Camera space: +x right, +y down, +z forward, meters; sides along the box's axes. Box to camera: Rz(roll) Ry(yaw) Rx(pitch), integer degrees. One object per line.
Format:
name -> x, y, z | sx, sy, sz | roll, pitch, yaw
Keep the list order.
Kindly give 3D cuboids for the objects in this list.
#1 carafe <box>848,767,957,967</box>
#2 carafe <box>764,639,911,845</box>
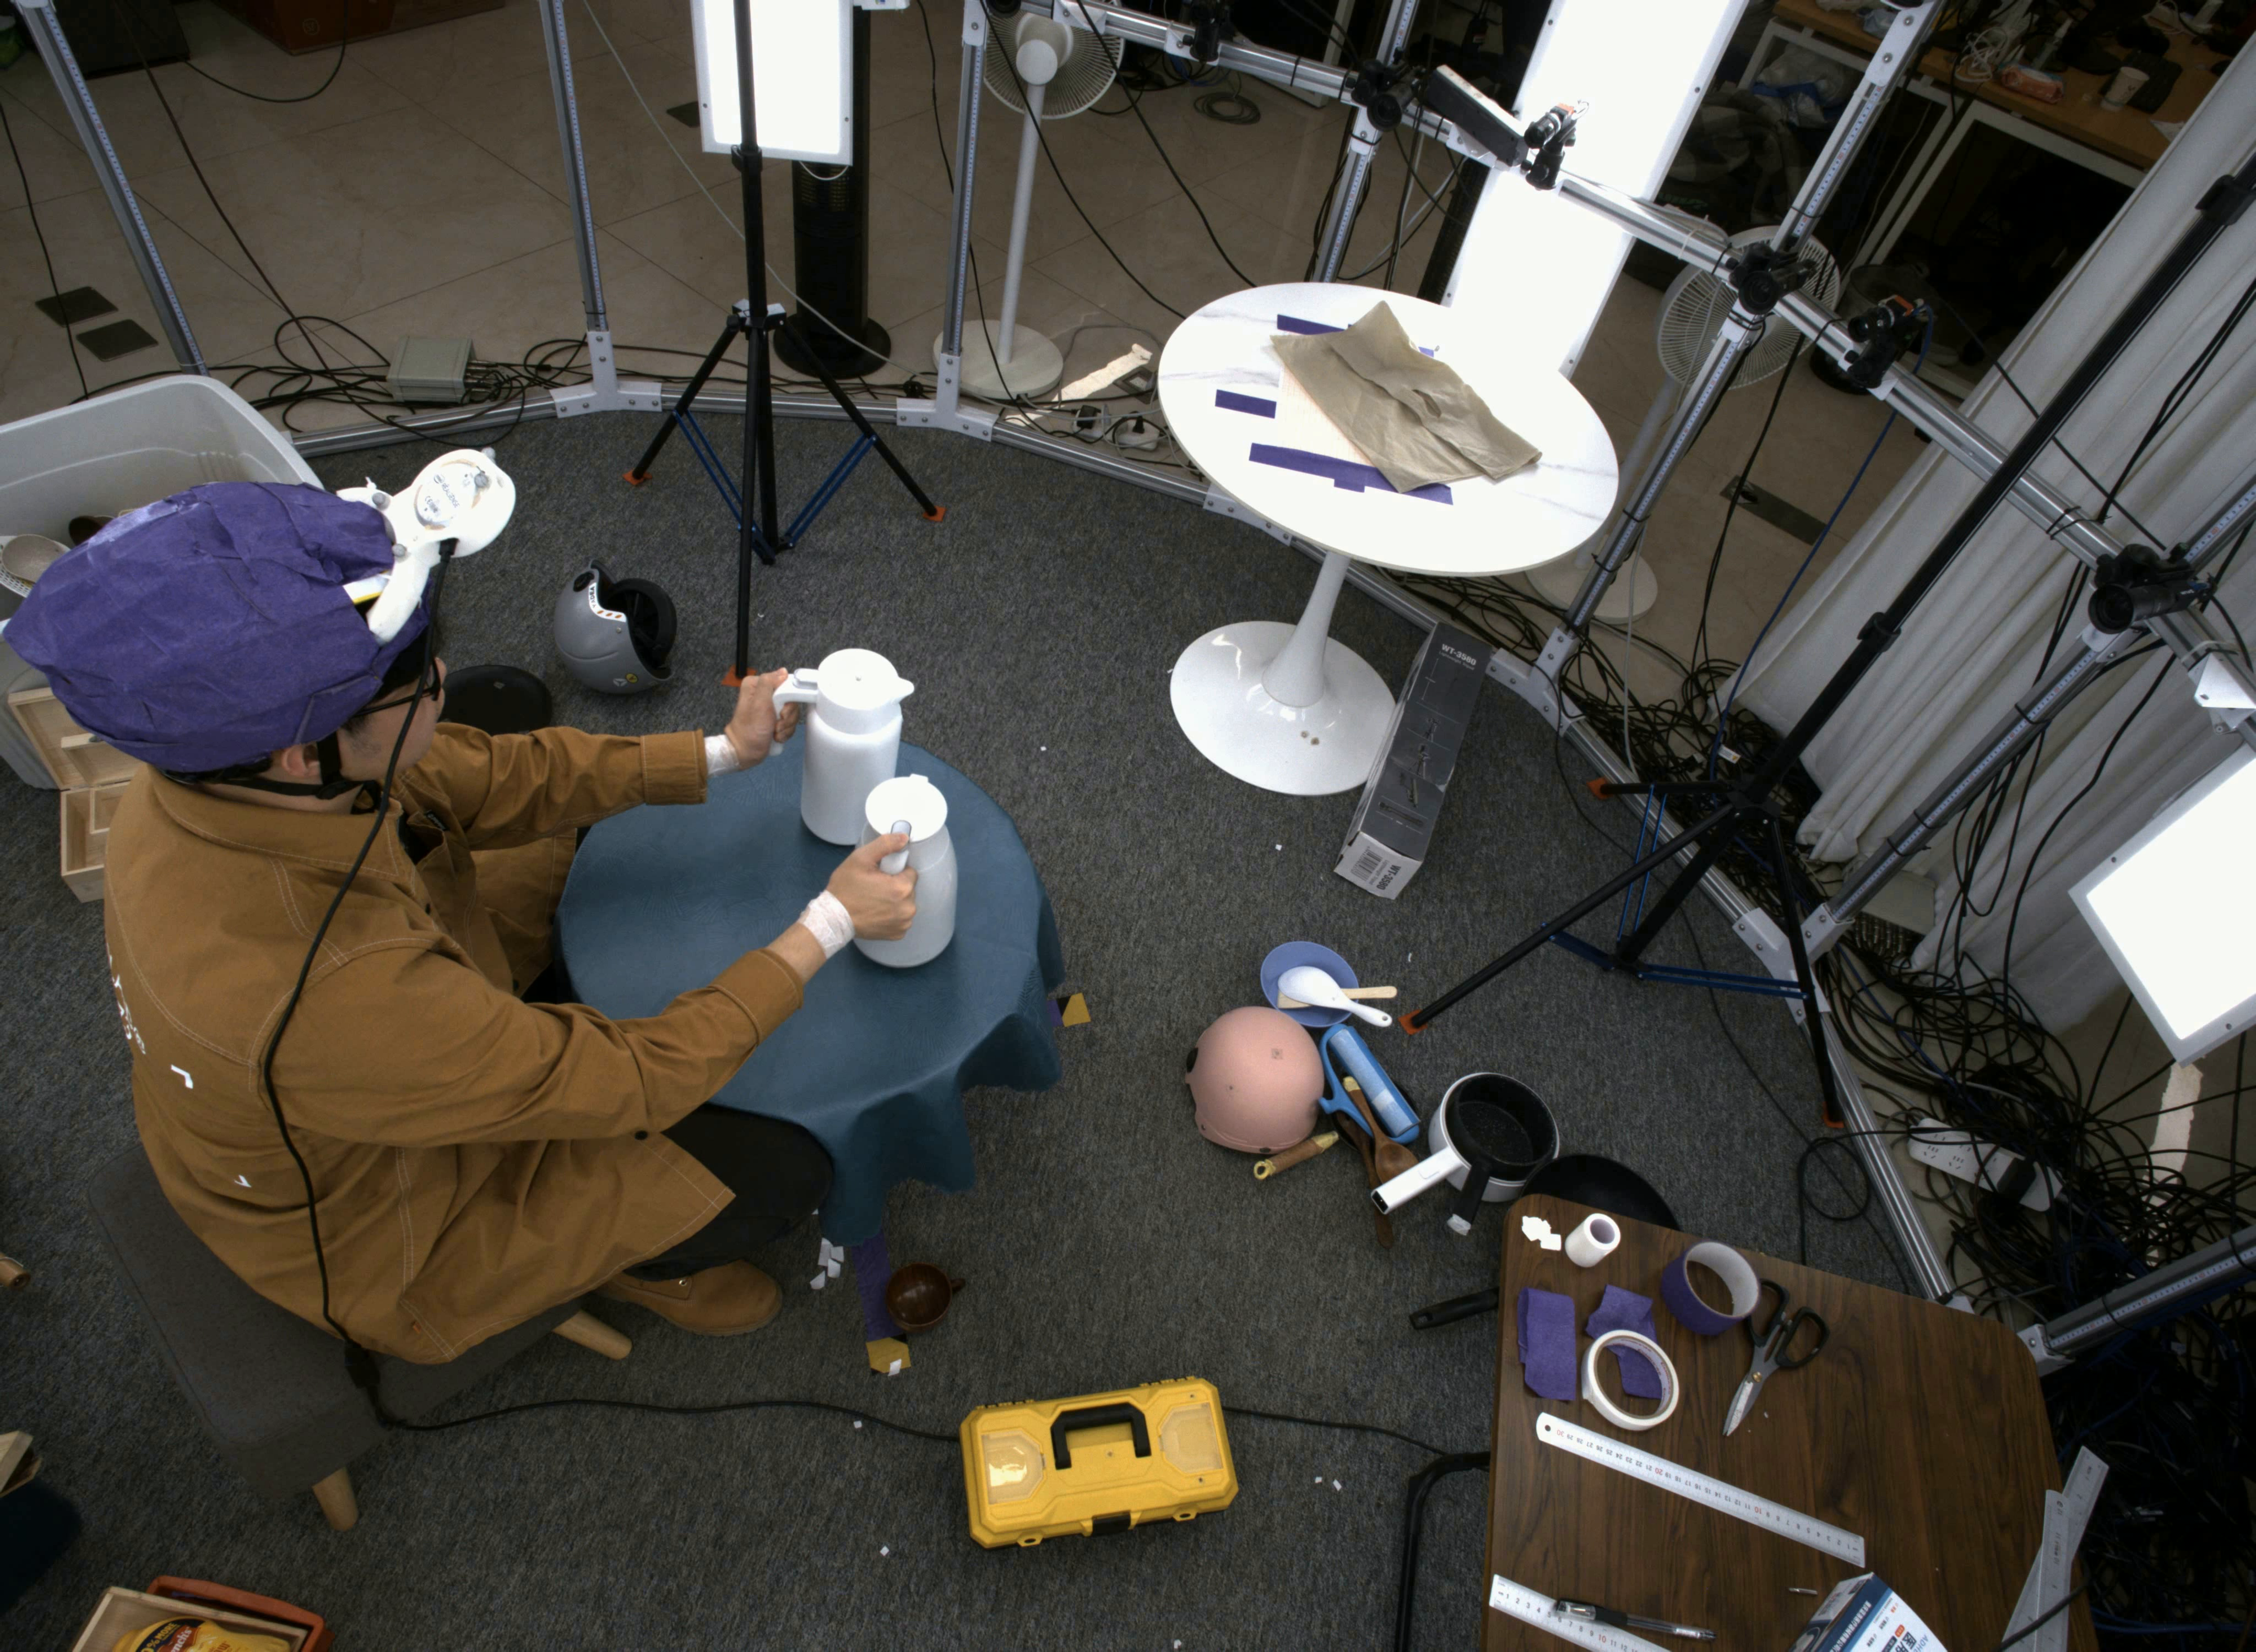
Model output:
carafe -> -0.268, 0.059, 1.526 | 0.131, 0.254, 0.165 | 11, 53, -2
carafe -> -0.369, -0.101, 1.629 | 0.173, 0.273, 0.121 | 1, 54, -15
